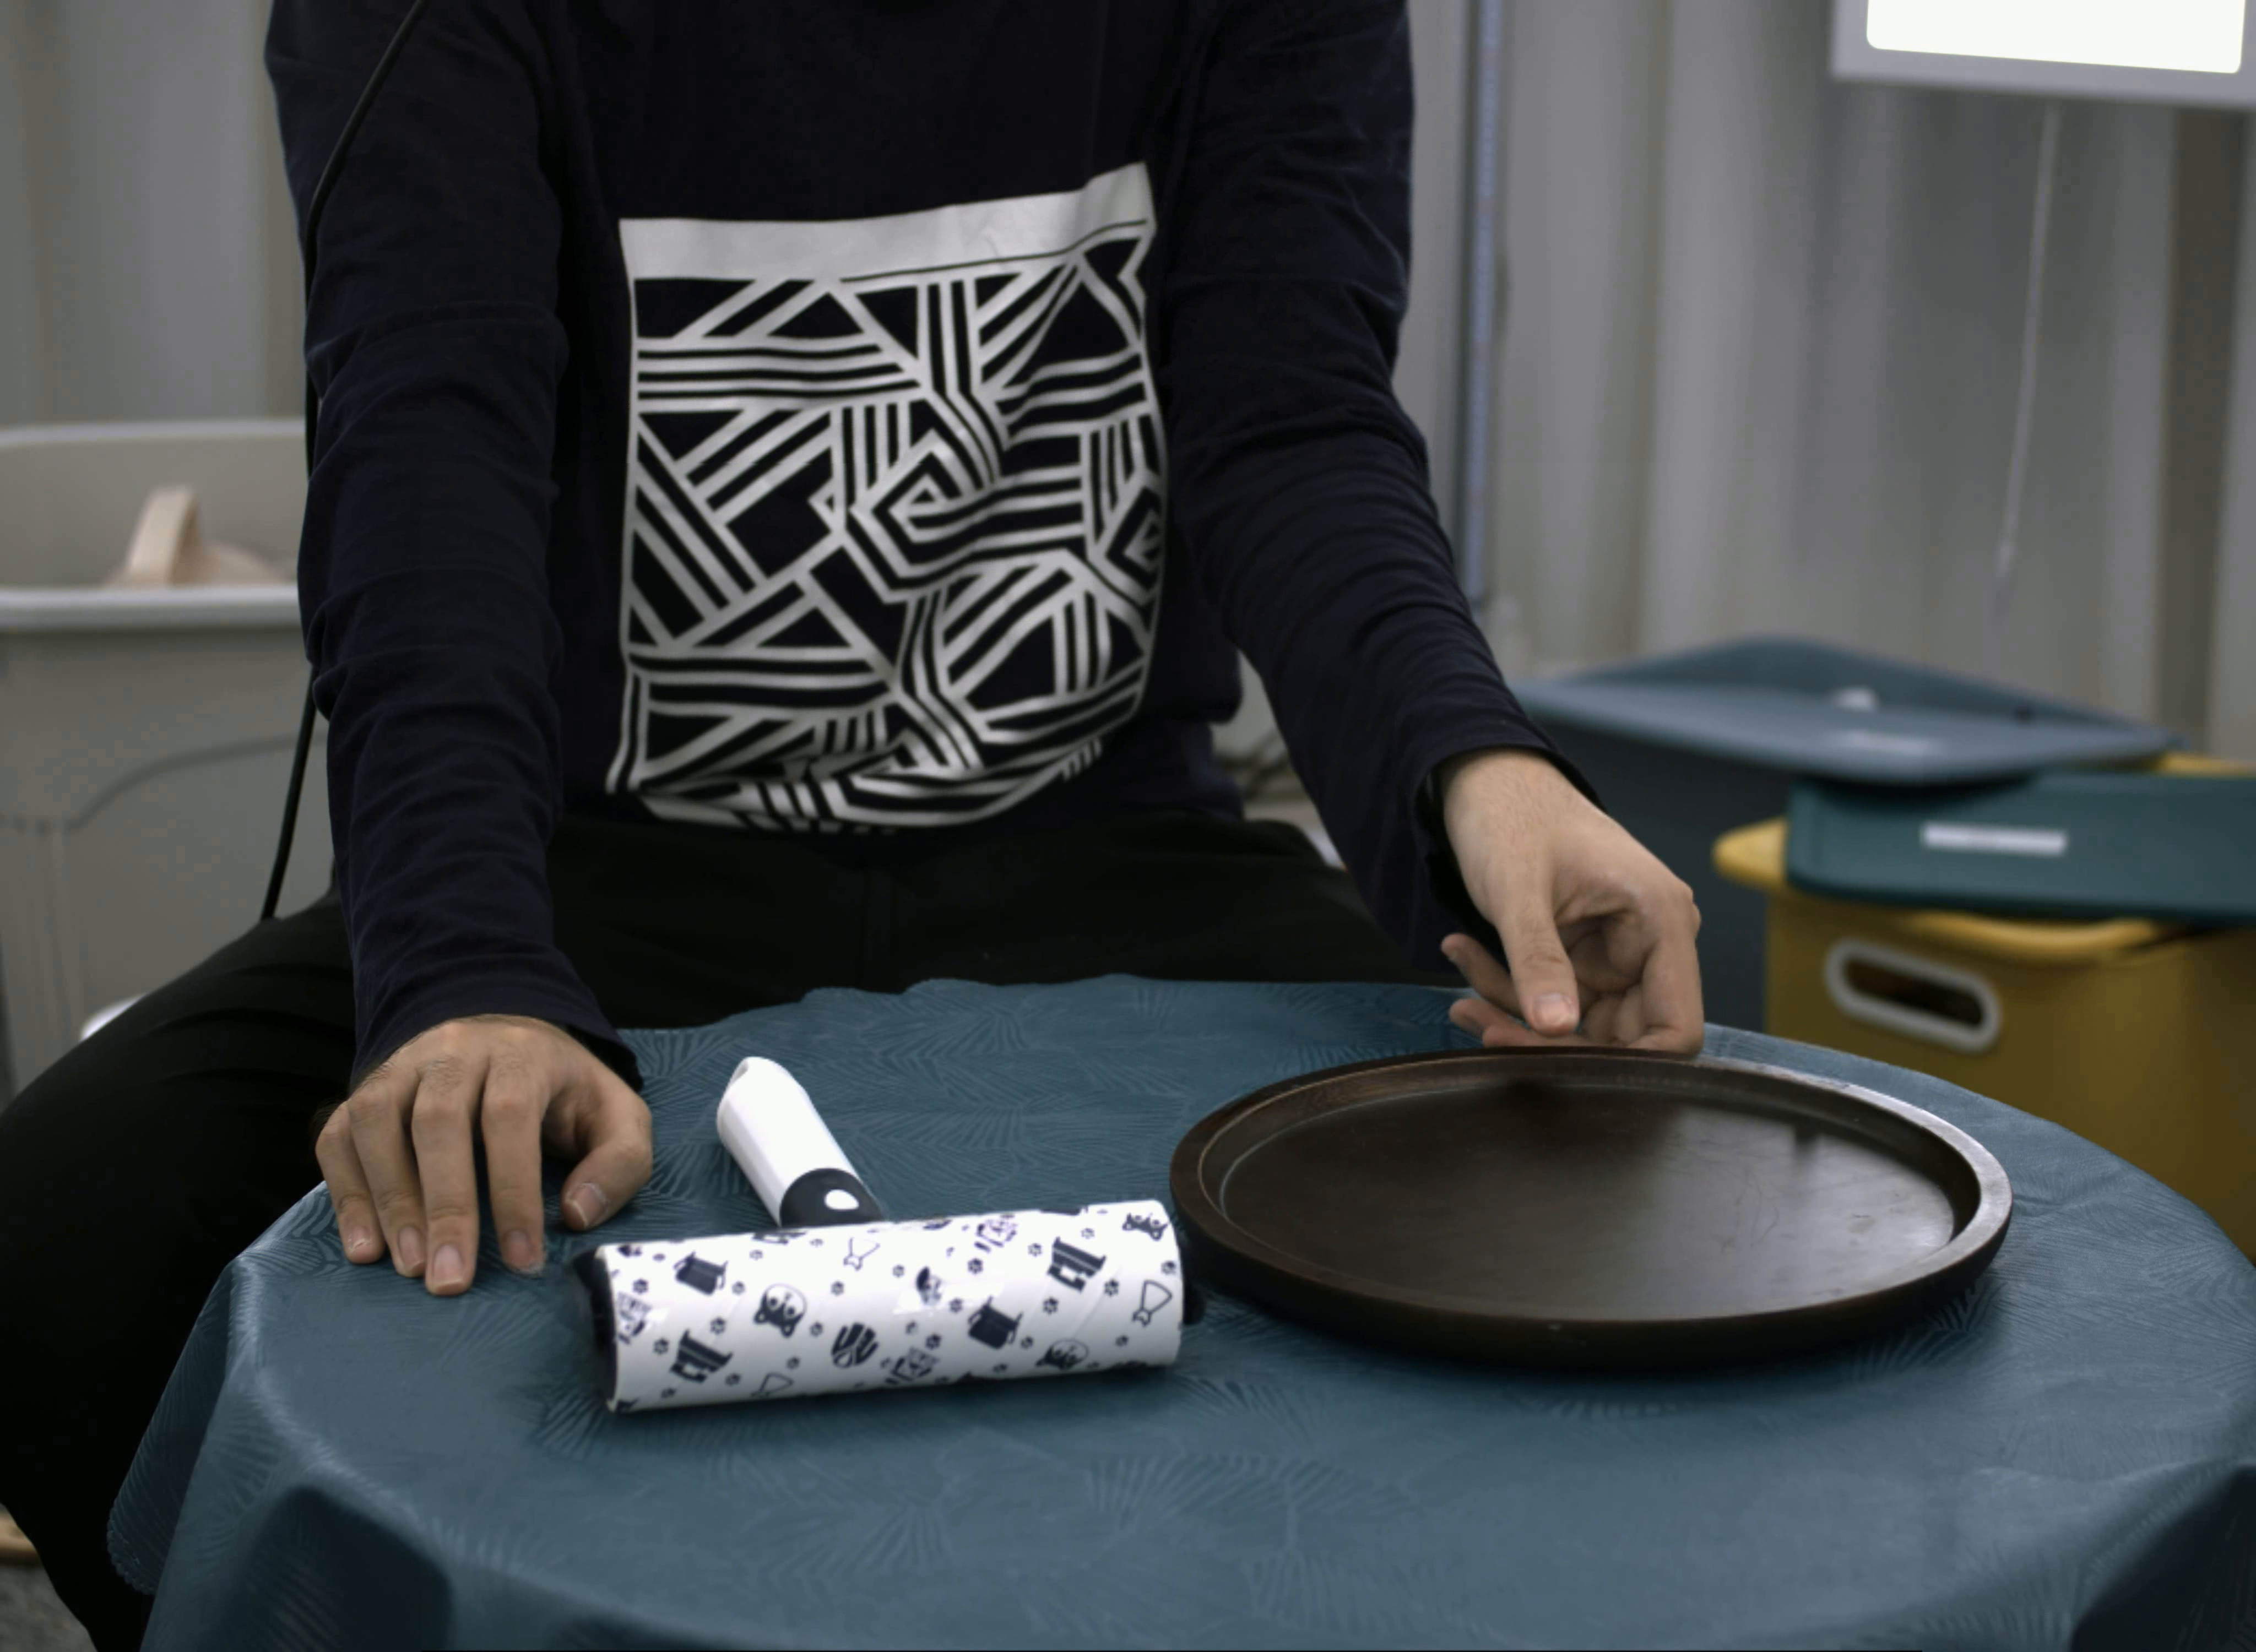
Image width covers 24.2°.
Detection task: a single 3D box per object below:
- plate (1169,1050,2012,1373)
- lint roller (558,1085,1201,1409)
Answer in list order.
[{"bbox_3d":[0.138,0.113,1.585,0.254,0.029,0.253,0,14,0],"label":"plate"},{"bbox_3d":[-0.093,0.109,1.554,0.176,0.051,0.245,-5,14,-14],"label":"lint roller"}]
